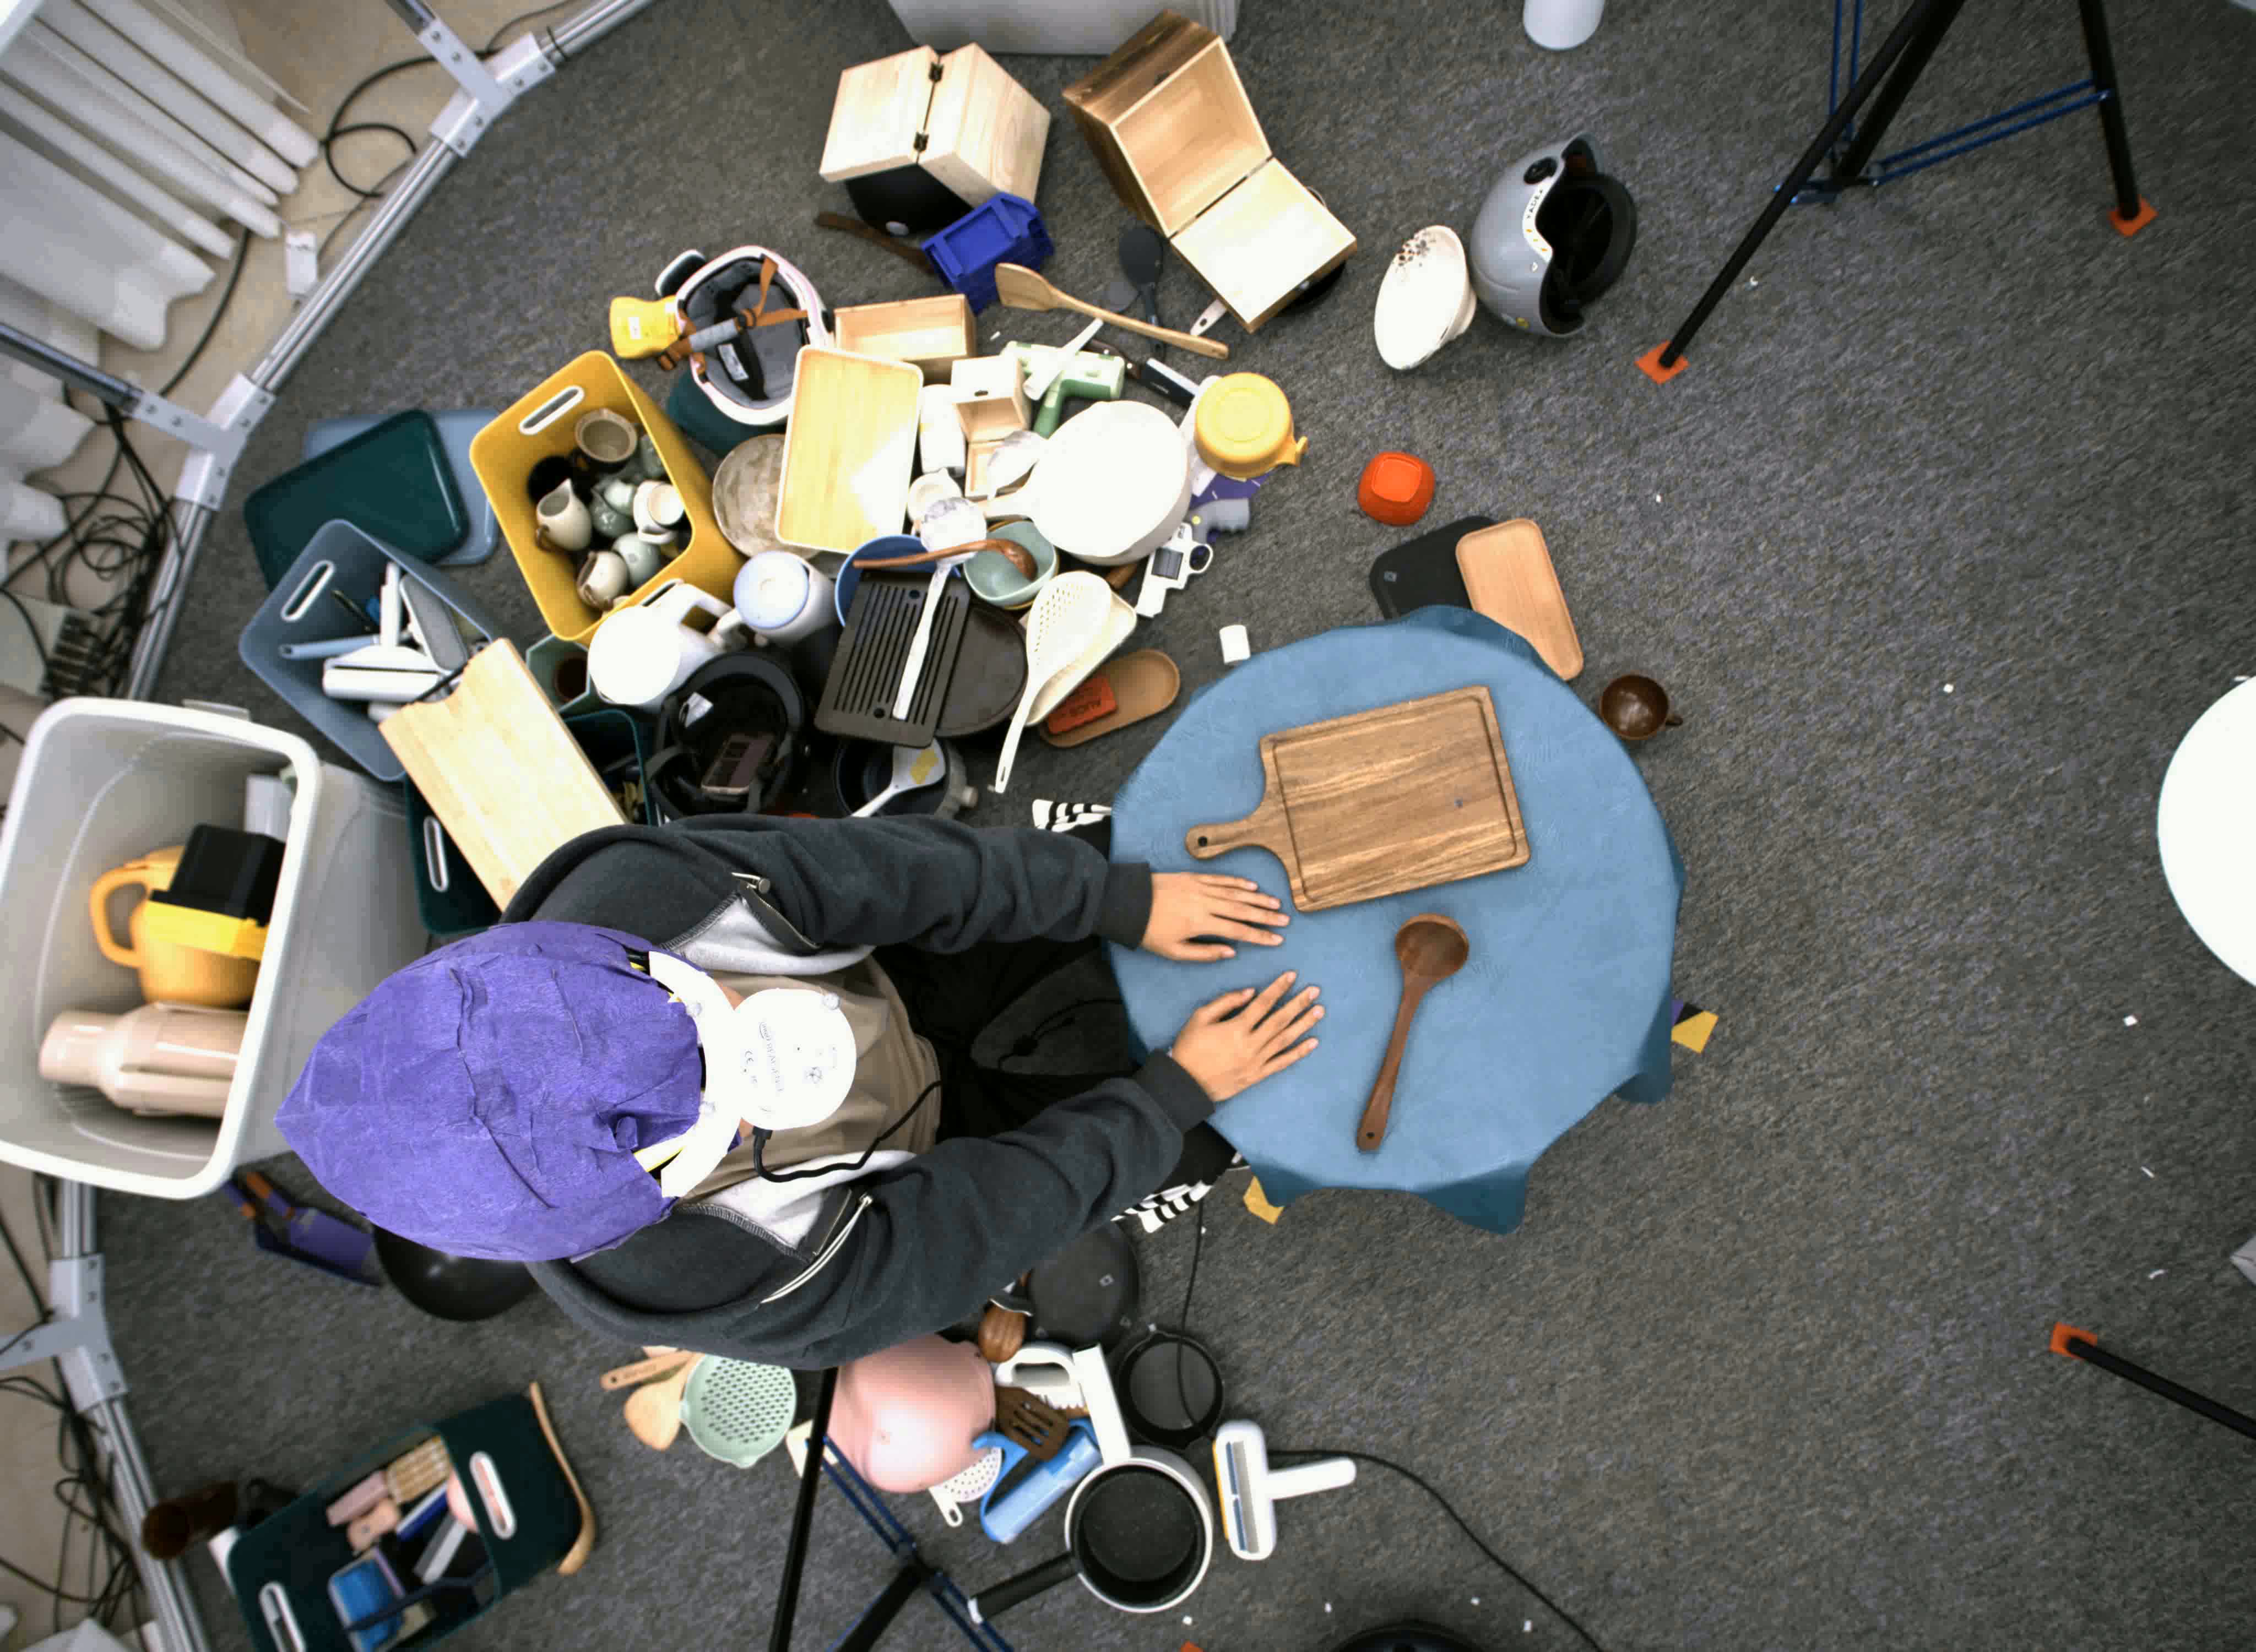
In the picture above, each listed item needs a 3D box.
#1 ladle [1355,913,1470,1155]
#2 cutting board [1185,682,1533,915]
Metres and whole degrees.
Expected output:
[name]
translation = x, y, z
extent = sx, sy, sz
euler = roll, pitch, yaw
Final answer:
[ladle]
translation = 0.281, 0.214, 1.416
extent = 0.076, 0.065, 0.260
euler = 19, 90, 15
[cutting board]
translation = 0.231, -0.019, 1.460
extent = 0.354, 0.023, 0.199
euler = -13, 83, 9
